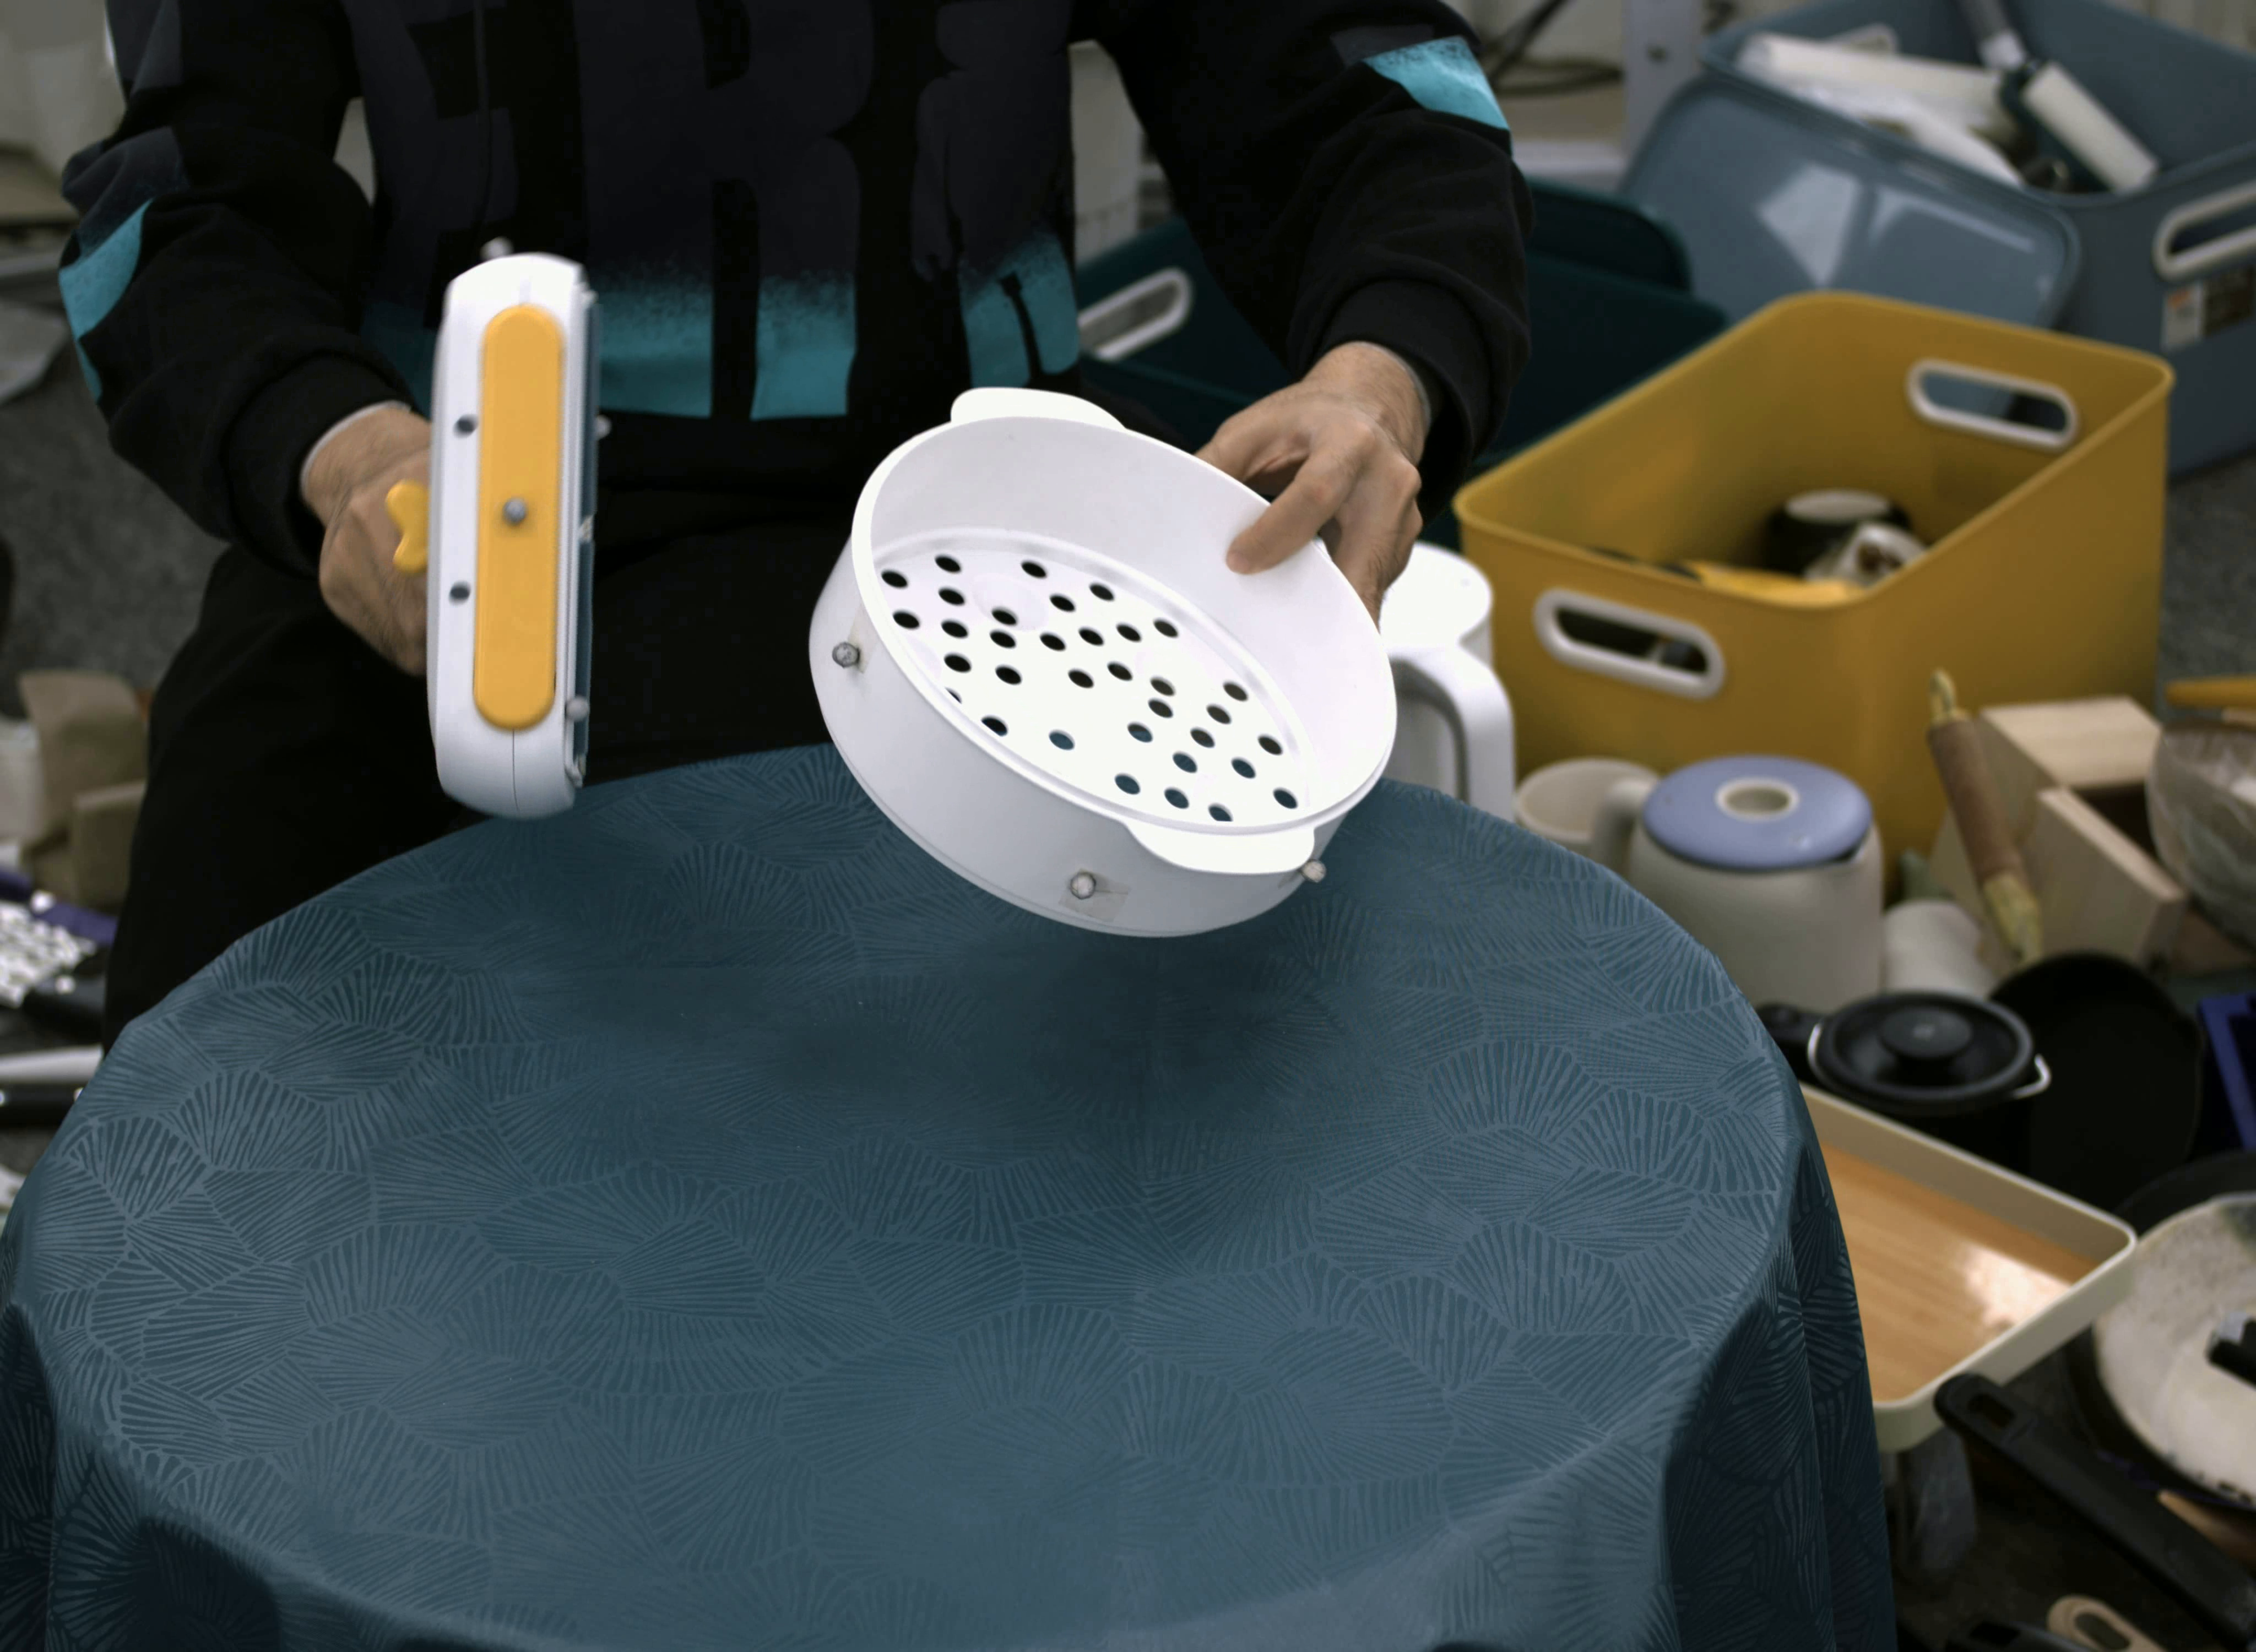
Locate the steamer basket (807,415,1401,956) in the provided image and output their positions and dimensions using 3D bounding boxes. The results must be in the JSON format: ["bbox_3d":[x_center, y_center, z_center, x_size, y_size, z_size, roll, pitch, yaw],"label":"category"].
[{"bbox_3d":[-0.010,-0.044,1.916,0.202,0.068,0.234,4,41,-31],"label":"steamer basket"}]

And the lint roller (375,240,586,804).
[{"bbox_3d":[-0.227,-0.091,1.973,0.074,0.195,0.190,-4,-12,-10],"label":"lint roller"}]
